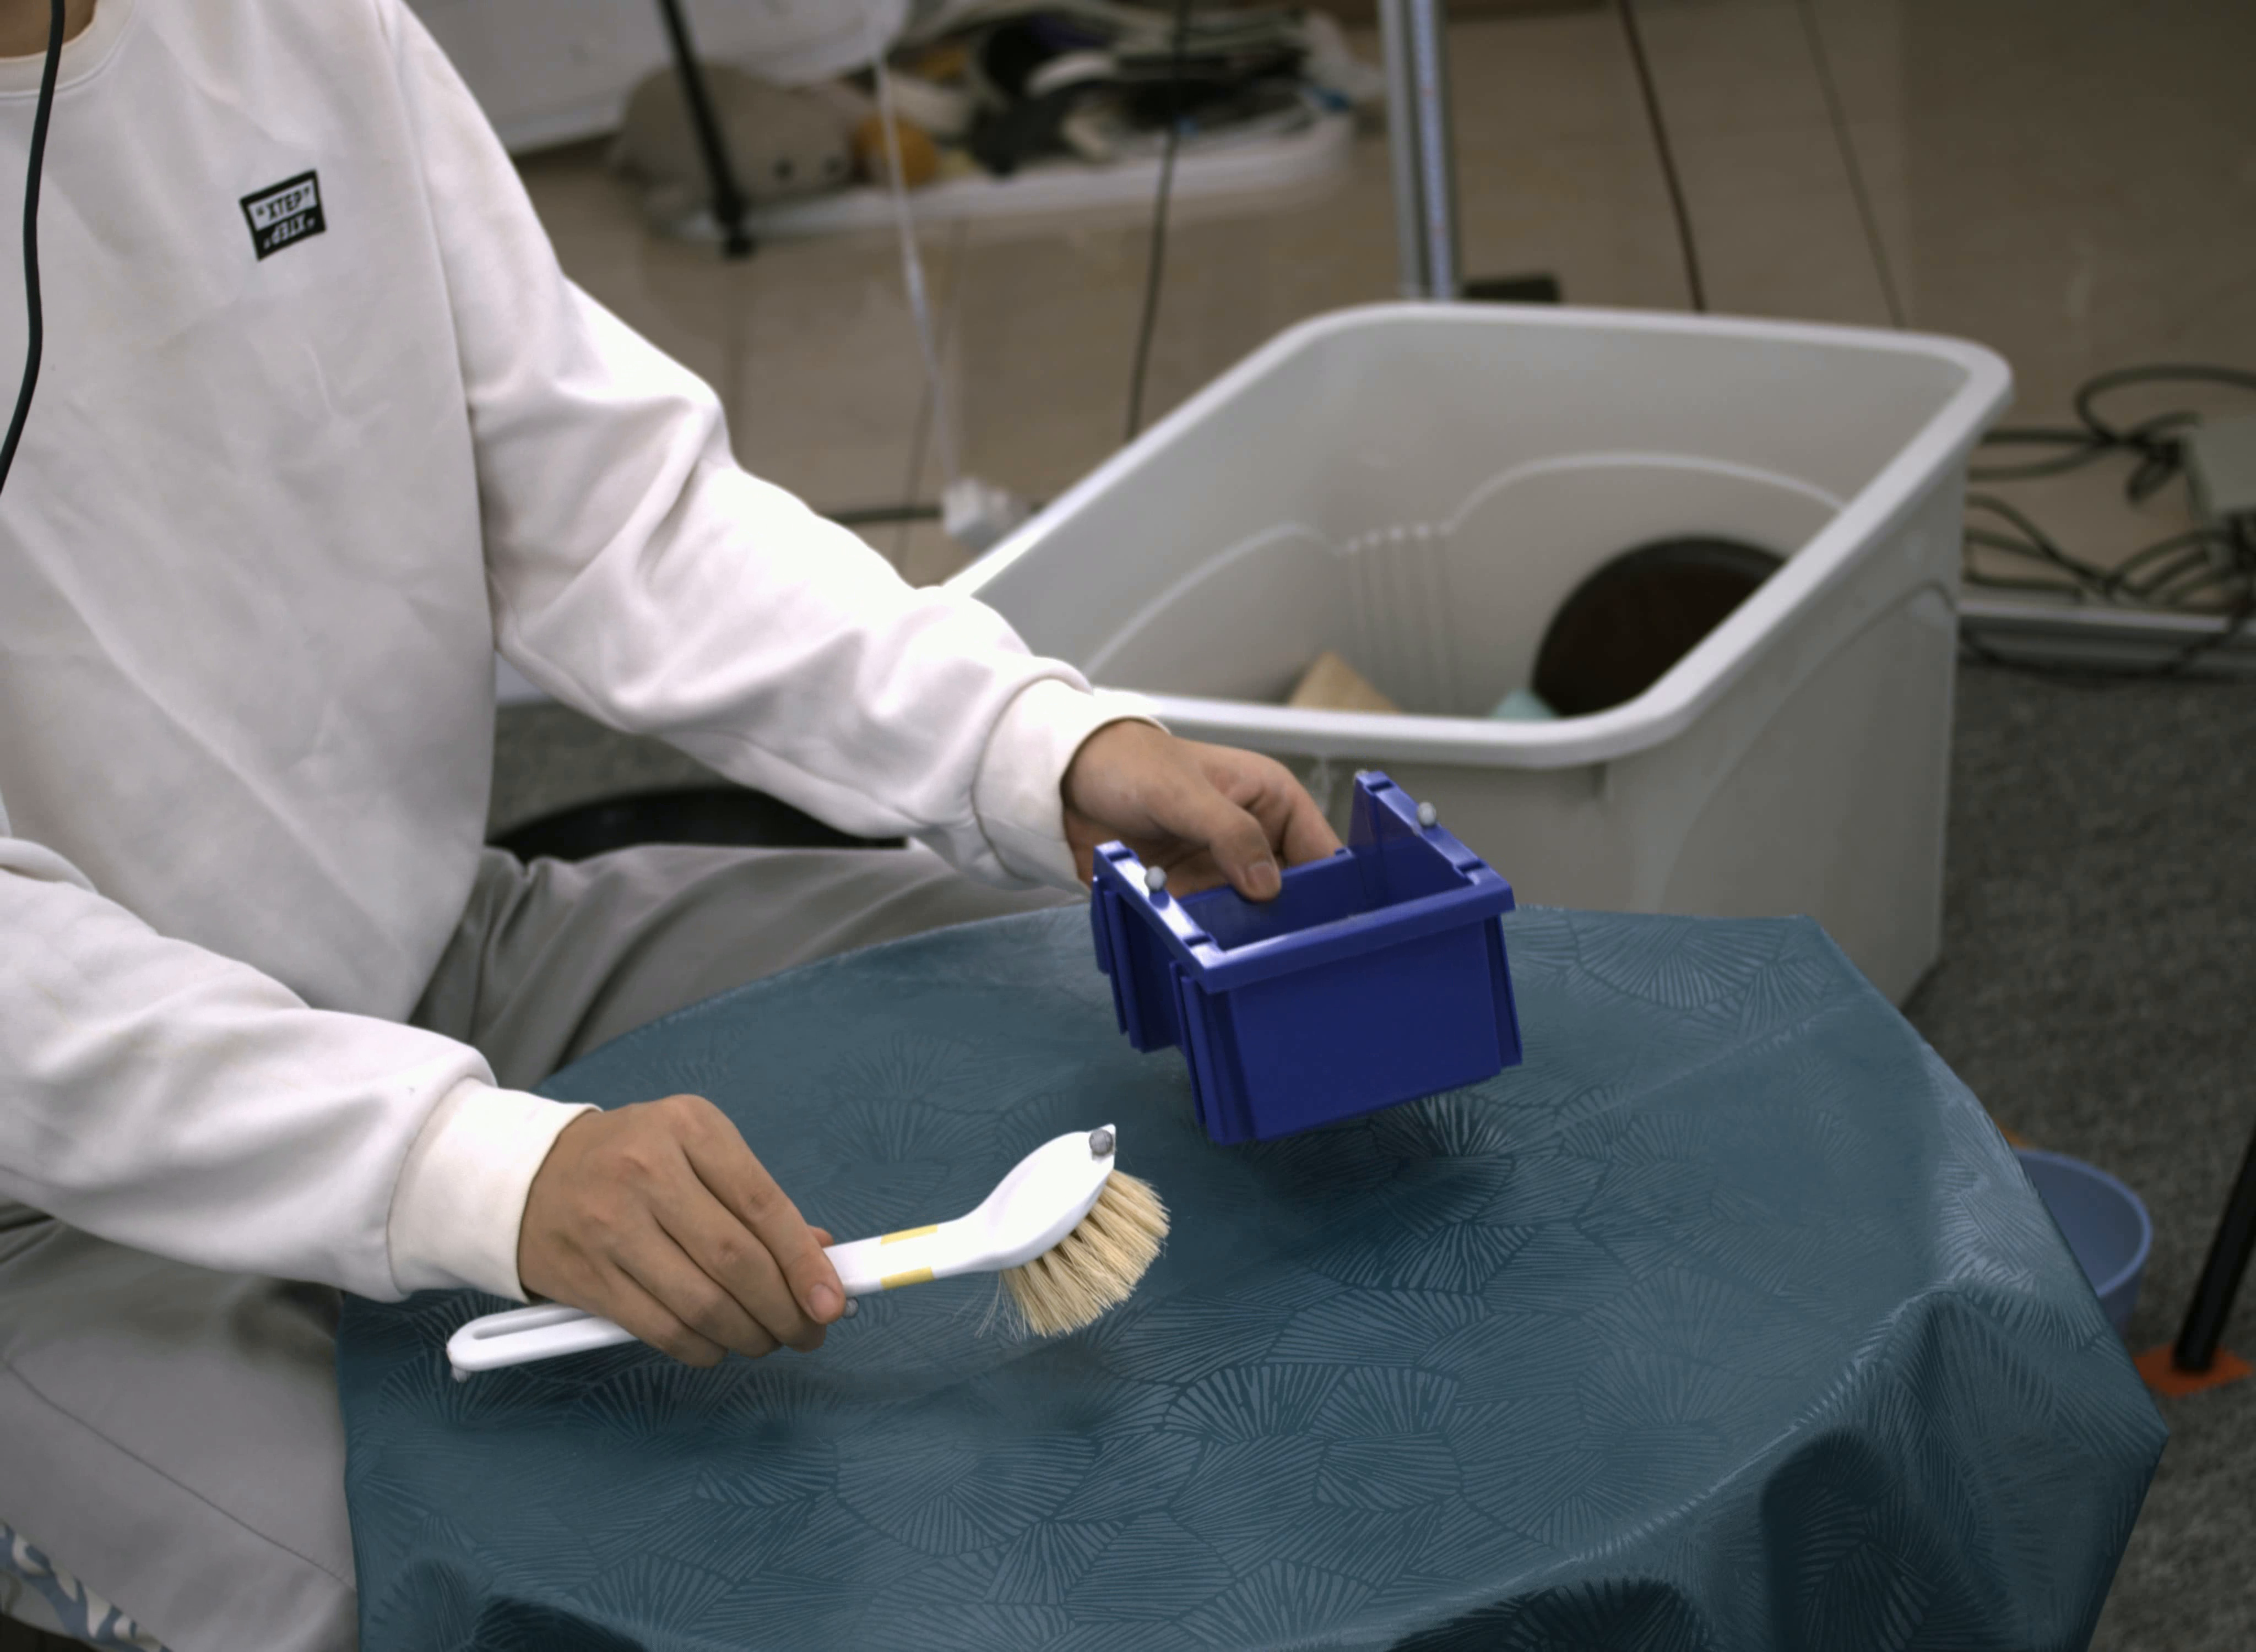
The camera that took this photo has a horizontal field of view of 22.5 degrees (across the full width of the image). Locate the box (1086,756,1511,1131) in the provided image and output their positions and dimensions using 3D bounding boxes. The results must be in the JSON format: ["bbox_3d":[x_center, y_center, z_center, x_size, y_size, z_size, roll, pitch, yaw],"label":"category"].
[{"bbox_3d":[0.061,0.042,2.161,0.124,0.083,0.177,-15,23,-11],"label":"box"}]

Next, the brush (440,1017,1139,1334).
[{"bbox_3d":[-0.118,0.145,2.038,0.267,0.057,0.068,-24,15,10],"label":"brush"}]
